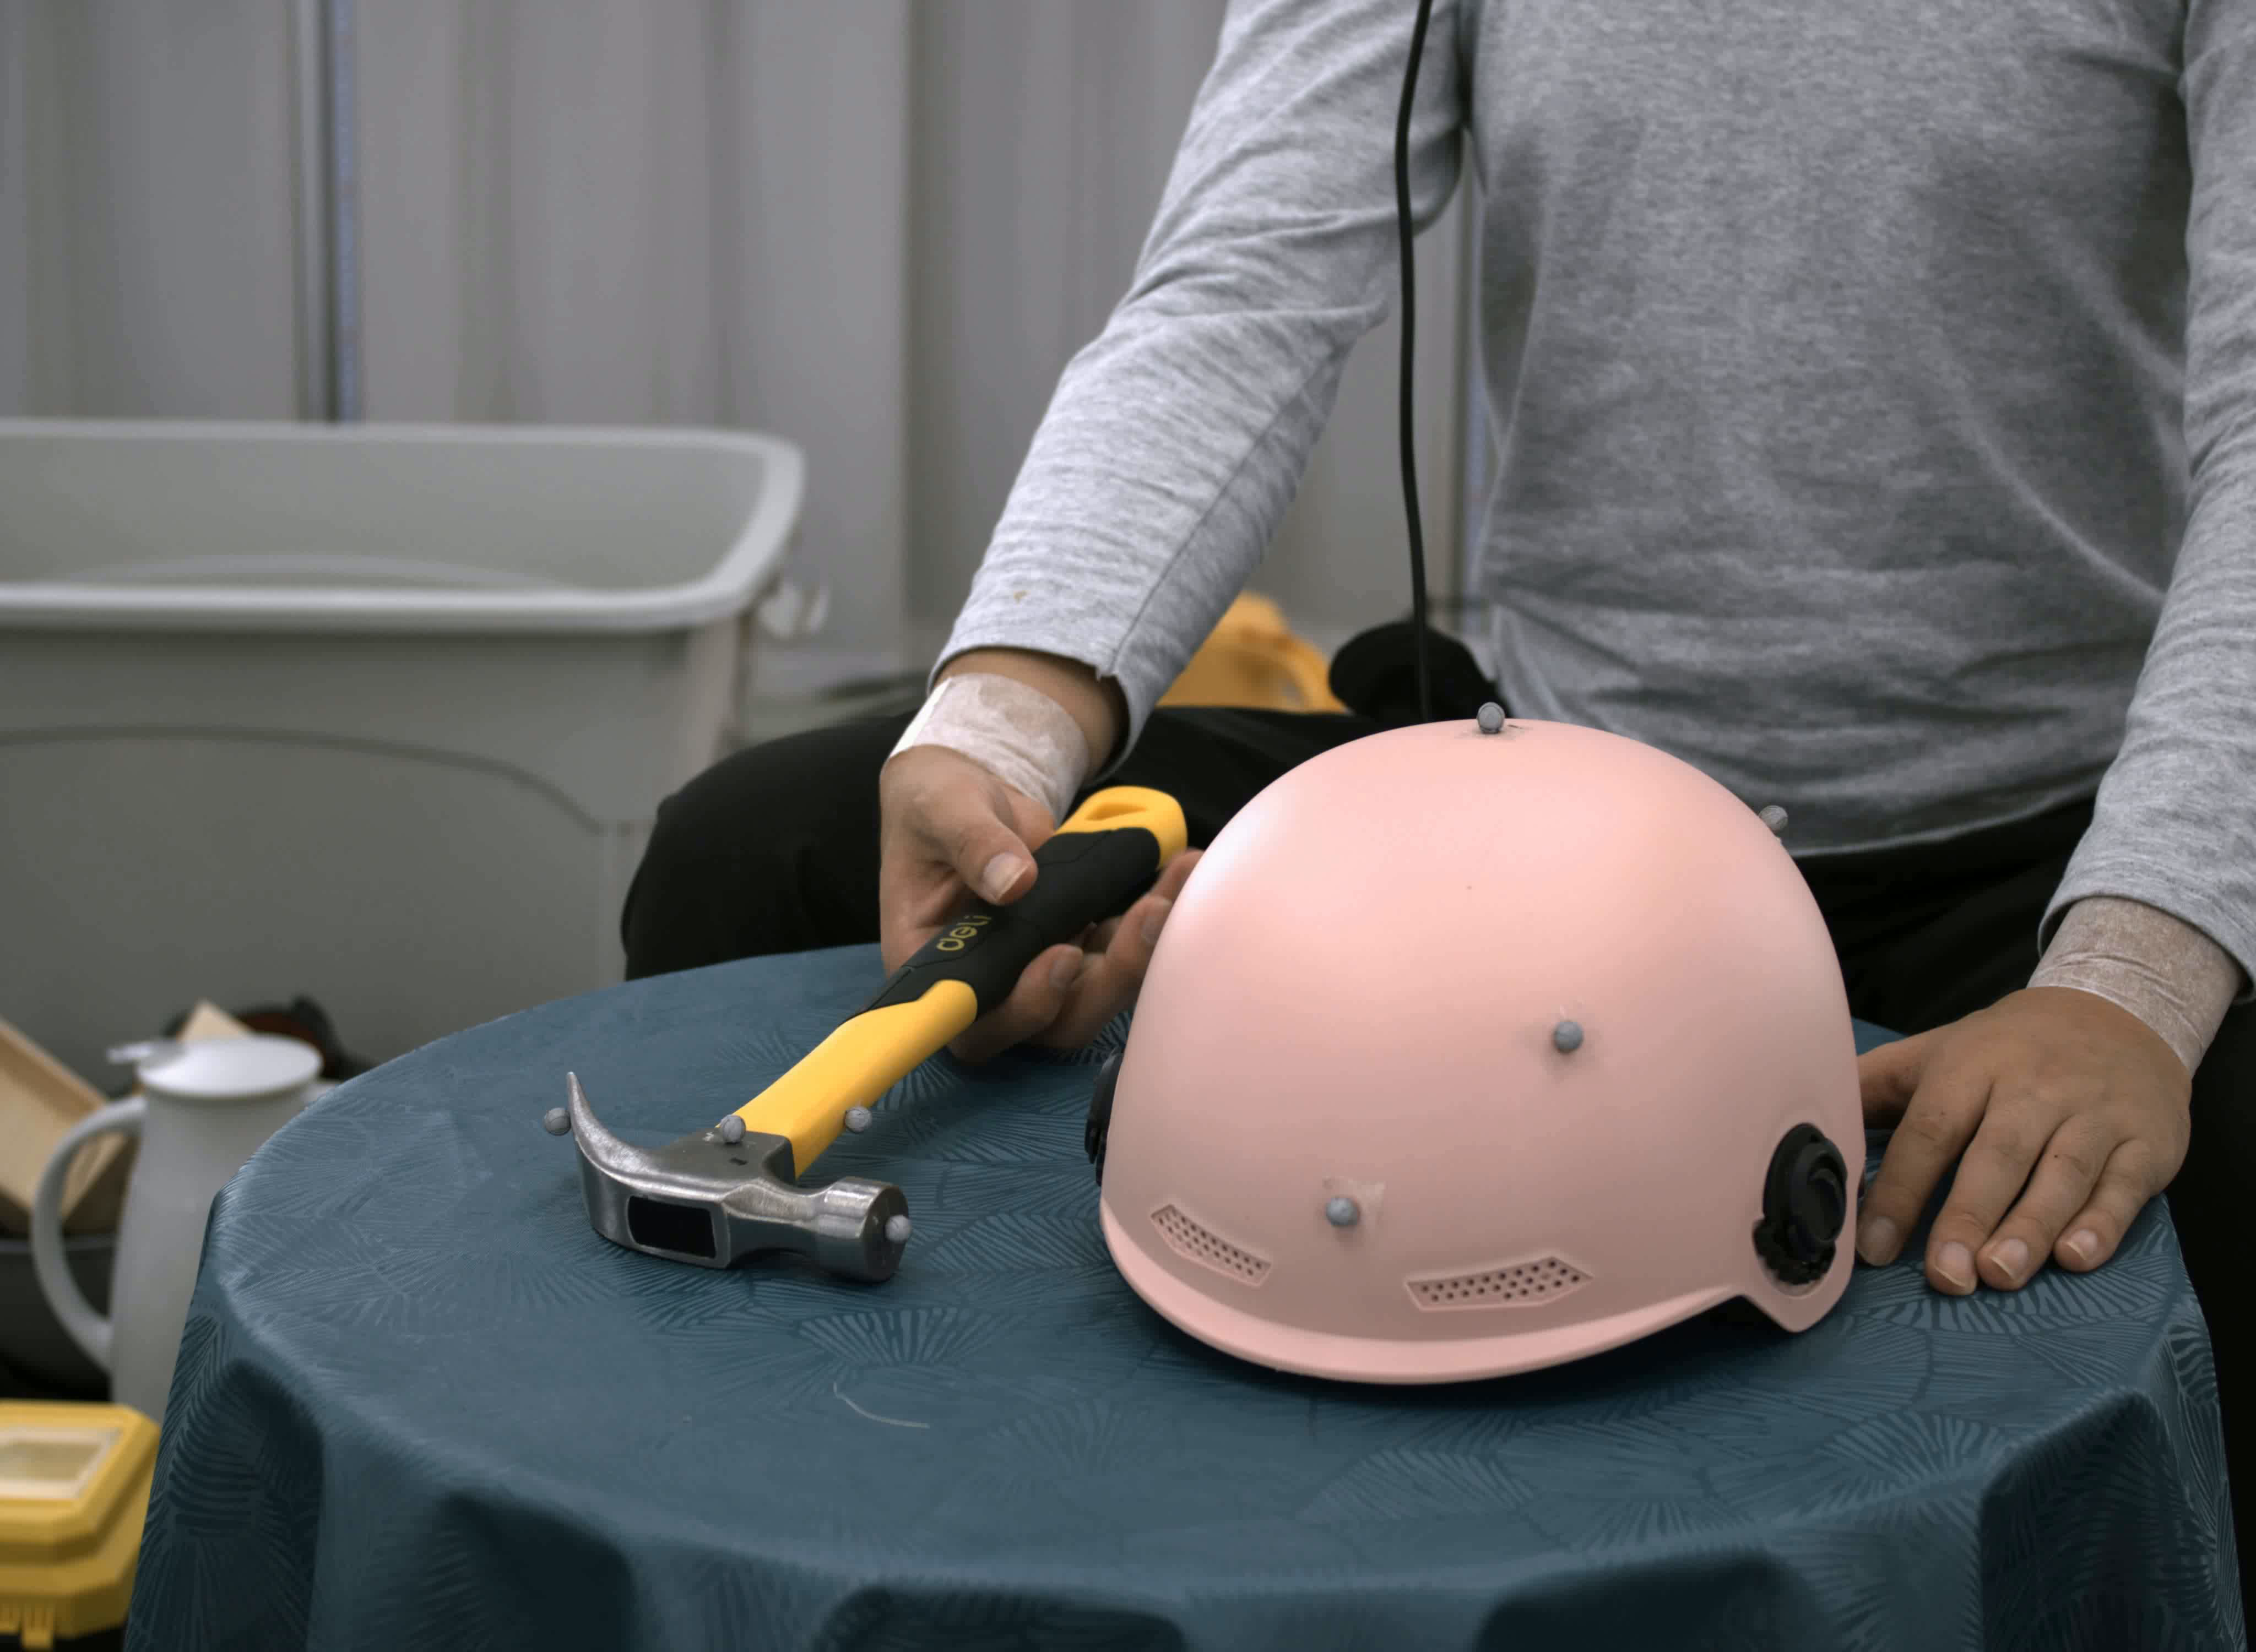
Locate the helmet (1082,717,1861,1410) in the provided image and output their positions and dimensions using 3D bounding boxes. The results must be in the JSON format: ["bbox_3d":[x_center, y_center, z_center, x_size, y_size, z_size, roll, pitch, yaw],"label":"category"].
[{"bbox_3d":[0.103,0.055,1.553,0.232,0.160,0.266,7,21,20],"label":"helmet"}]

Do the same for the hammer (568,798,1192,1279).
[{"bbox_3d":[-0.064,0.059,1.695,0.130,0.032,0.338,6,23,25],"label":"hammer"}]
